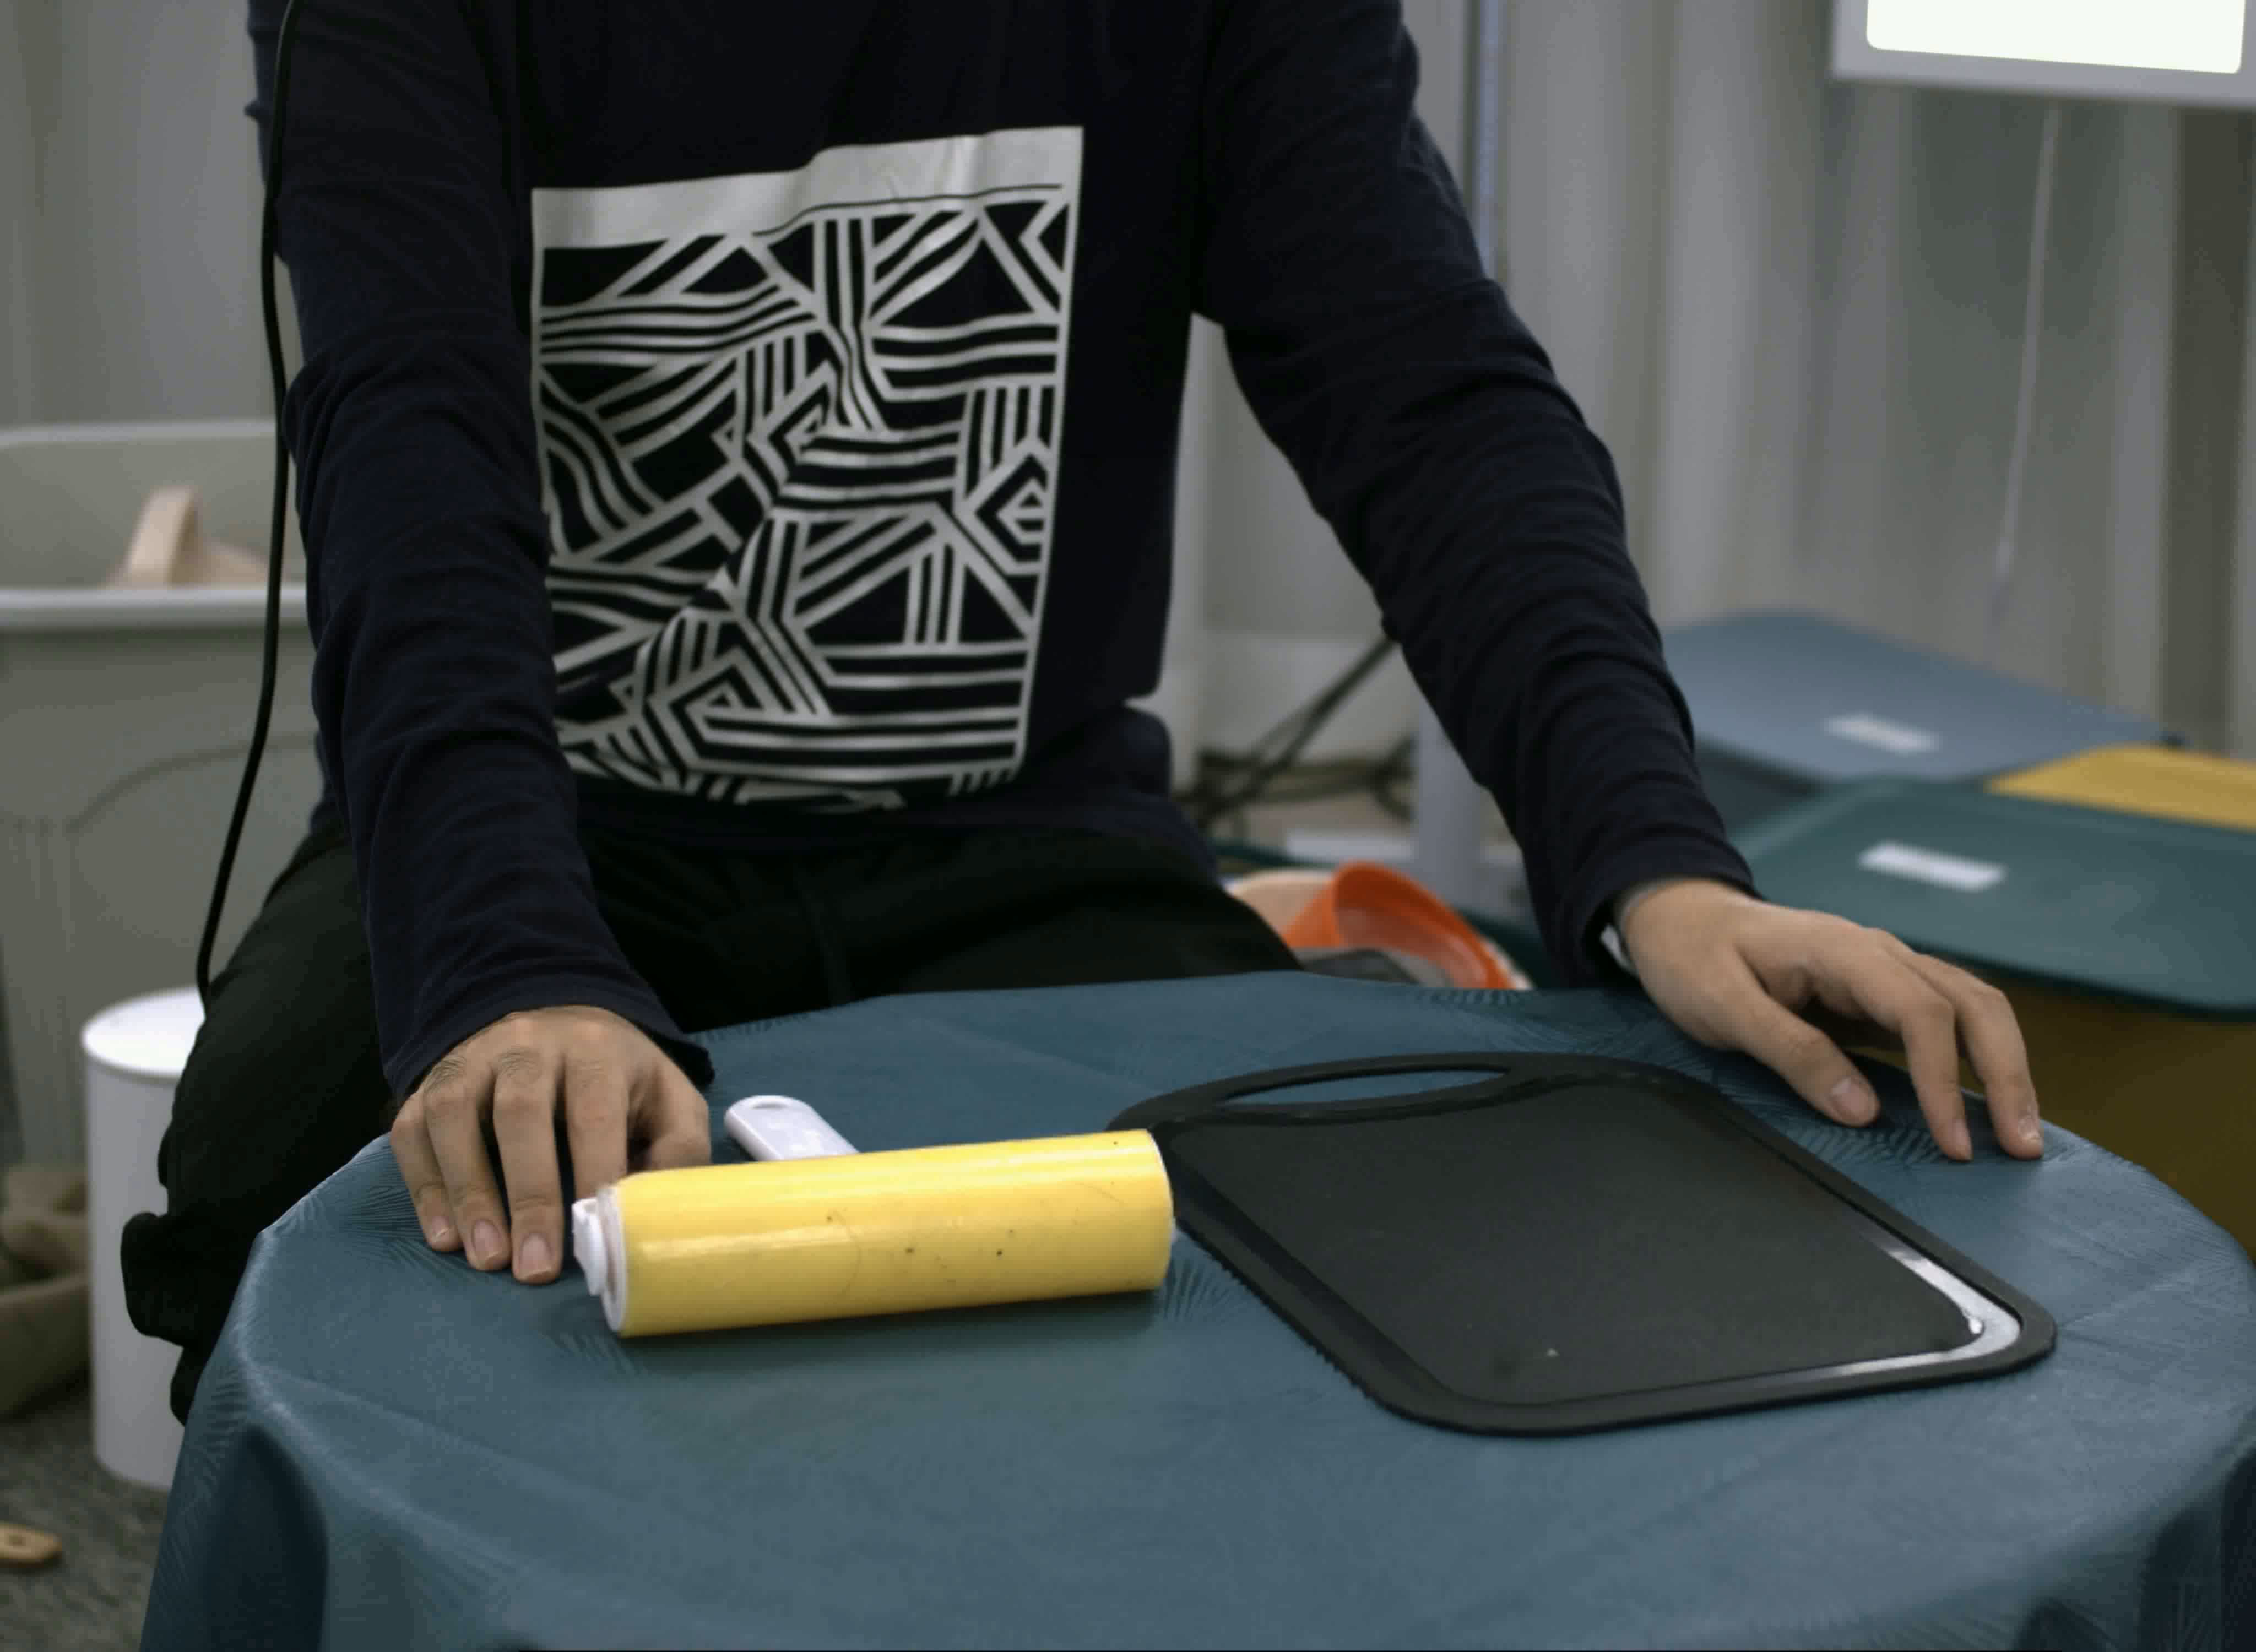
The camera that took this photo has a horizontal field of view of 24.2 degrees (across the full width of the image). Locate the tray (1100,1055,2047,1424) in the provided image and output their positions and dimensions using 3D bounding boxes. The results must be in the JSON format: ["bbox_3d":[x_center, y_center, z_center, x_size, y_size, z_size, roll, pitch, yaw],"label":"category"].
[{"bbox_3d":[0.123,0.118,1.599,0.211,0.010,0.322,-5,16,-20],"label":"tray"}]

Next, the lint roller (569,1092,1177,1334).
[{"bbox_3d":[-0.093,0.098,1.580,0.174,0.052,0.190,-3,19,-17],"label":"lint roller"}]
